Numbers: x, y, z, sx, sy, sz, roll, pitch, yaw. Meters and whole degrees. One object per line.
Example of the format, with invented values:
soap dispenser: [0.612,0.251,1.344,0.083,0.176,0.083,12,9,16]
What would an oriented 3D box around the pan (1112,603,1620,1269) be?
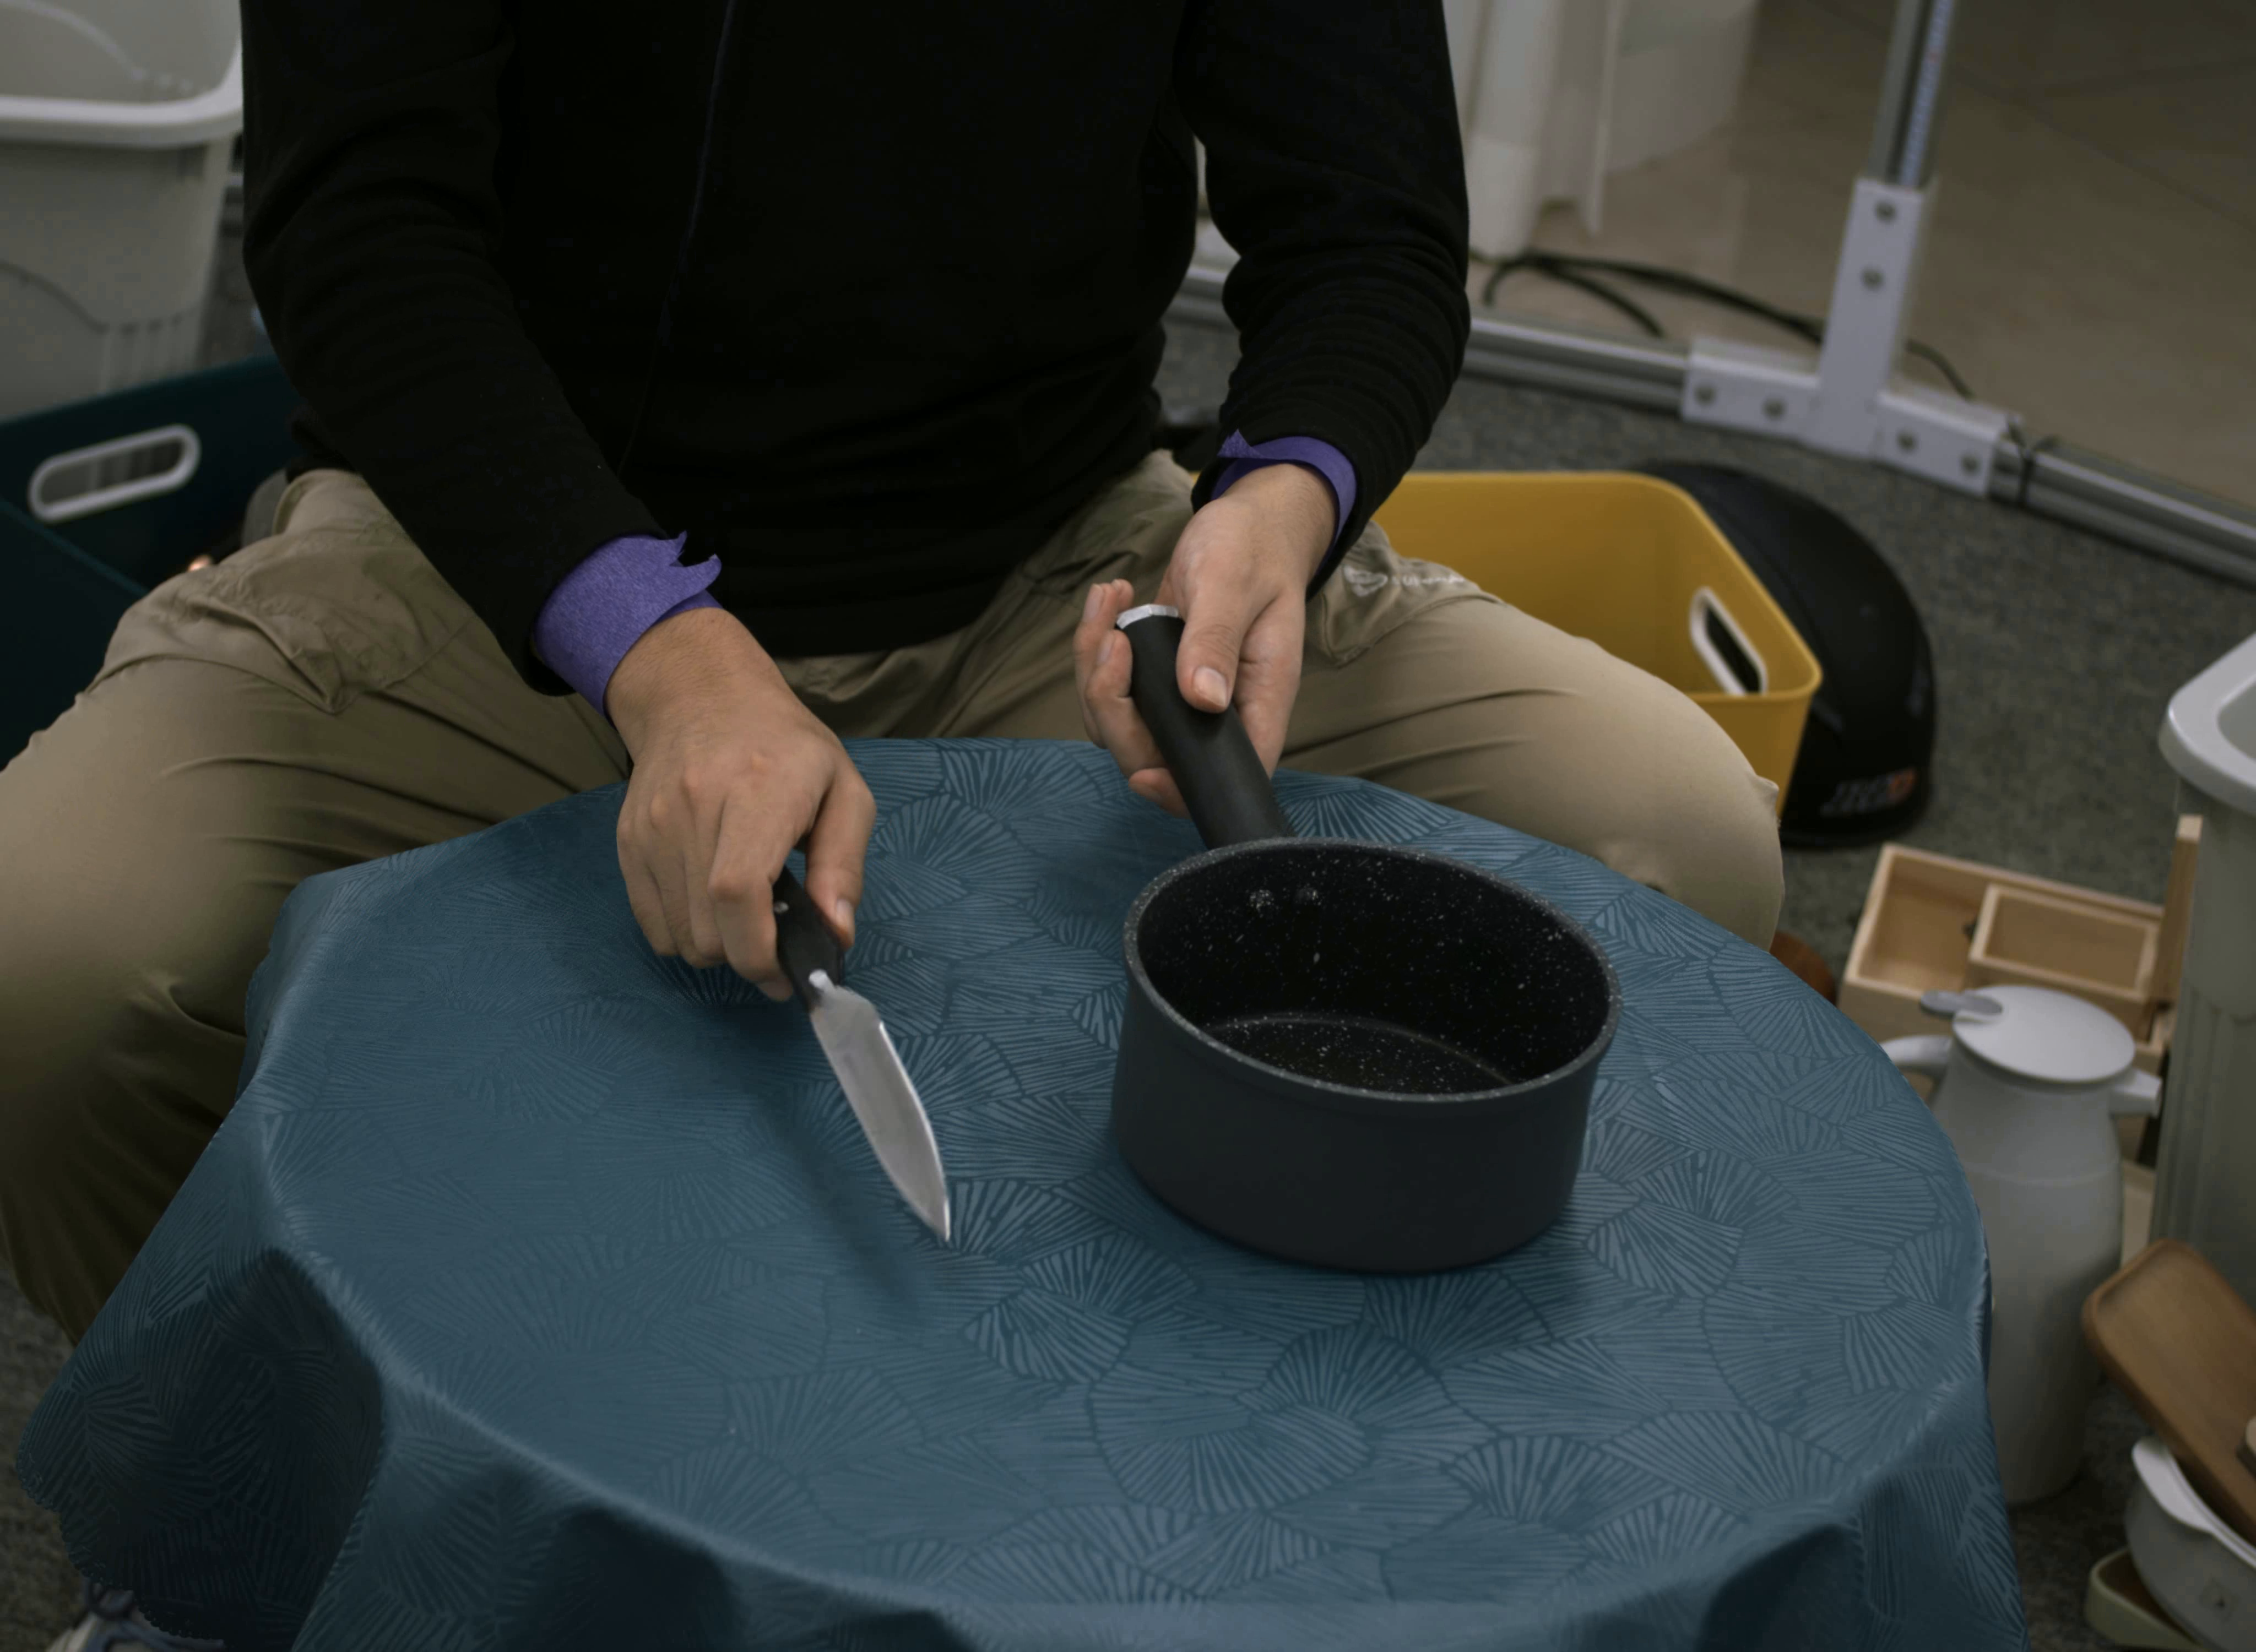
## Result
pan: [0.057,0.035,1.887,0.171,0.086,0.331,-1,31,-16]

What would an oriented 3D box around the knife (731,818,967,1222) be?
knife: [-0.096,0.065,1.806,0.024,0.016,0.240,-18,37,-11]
